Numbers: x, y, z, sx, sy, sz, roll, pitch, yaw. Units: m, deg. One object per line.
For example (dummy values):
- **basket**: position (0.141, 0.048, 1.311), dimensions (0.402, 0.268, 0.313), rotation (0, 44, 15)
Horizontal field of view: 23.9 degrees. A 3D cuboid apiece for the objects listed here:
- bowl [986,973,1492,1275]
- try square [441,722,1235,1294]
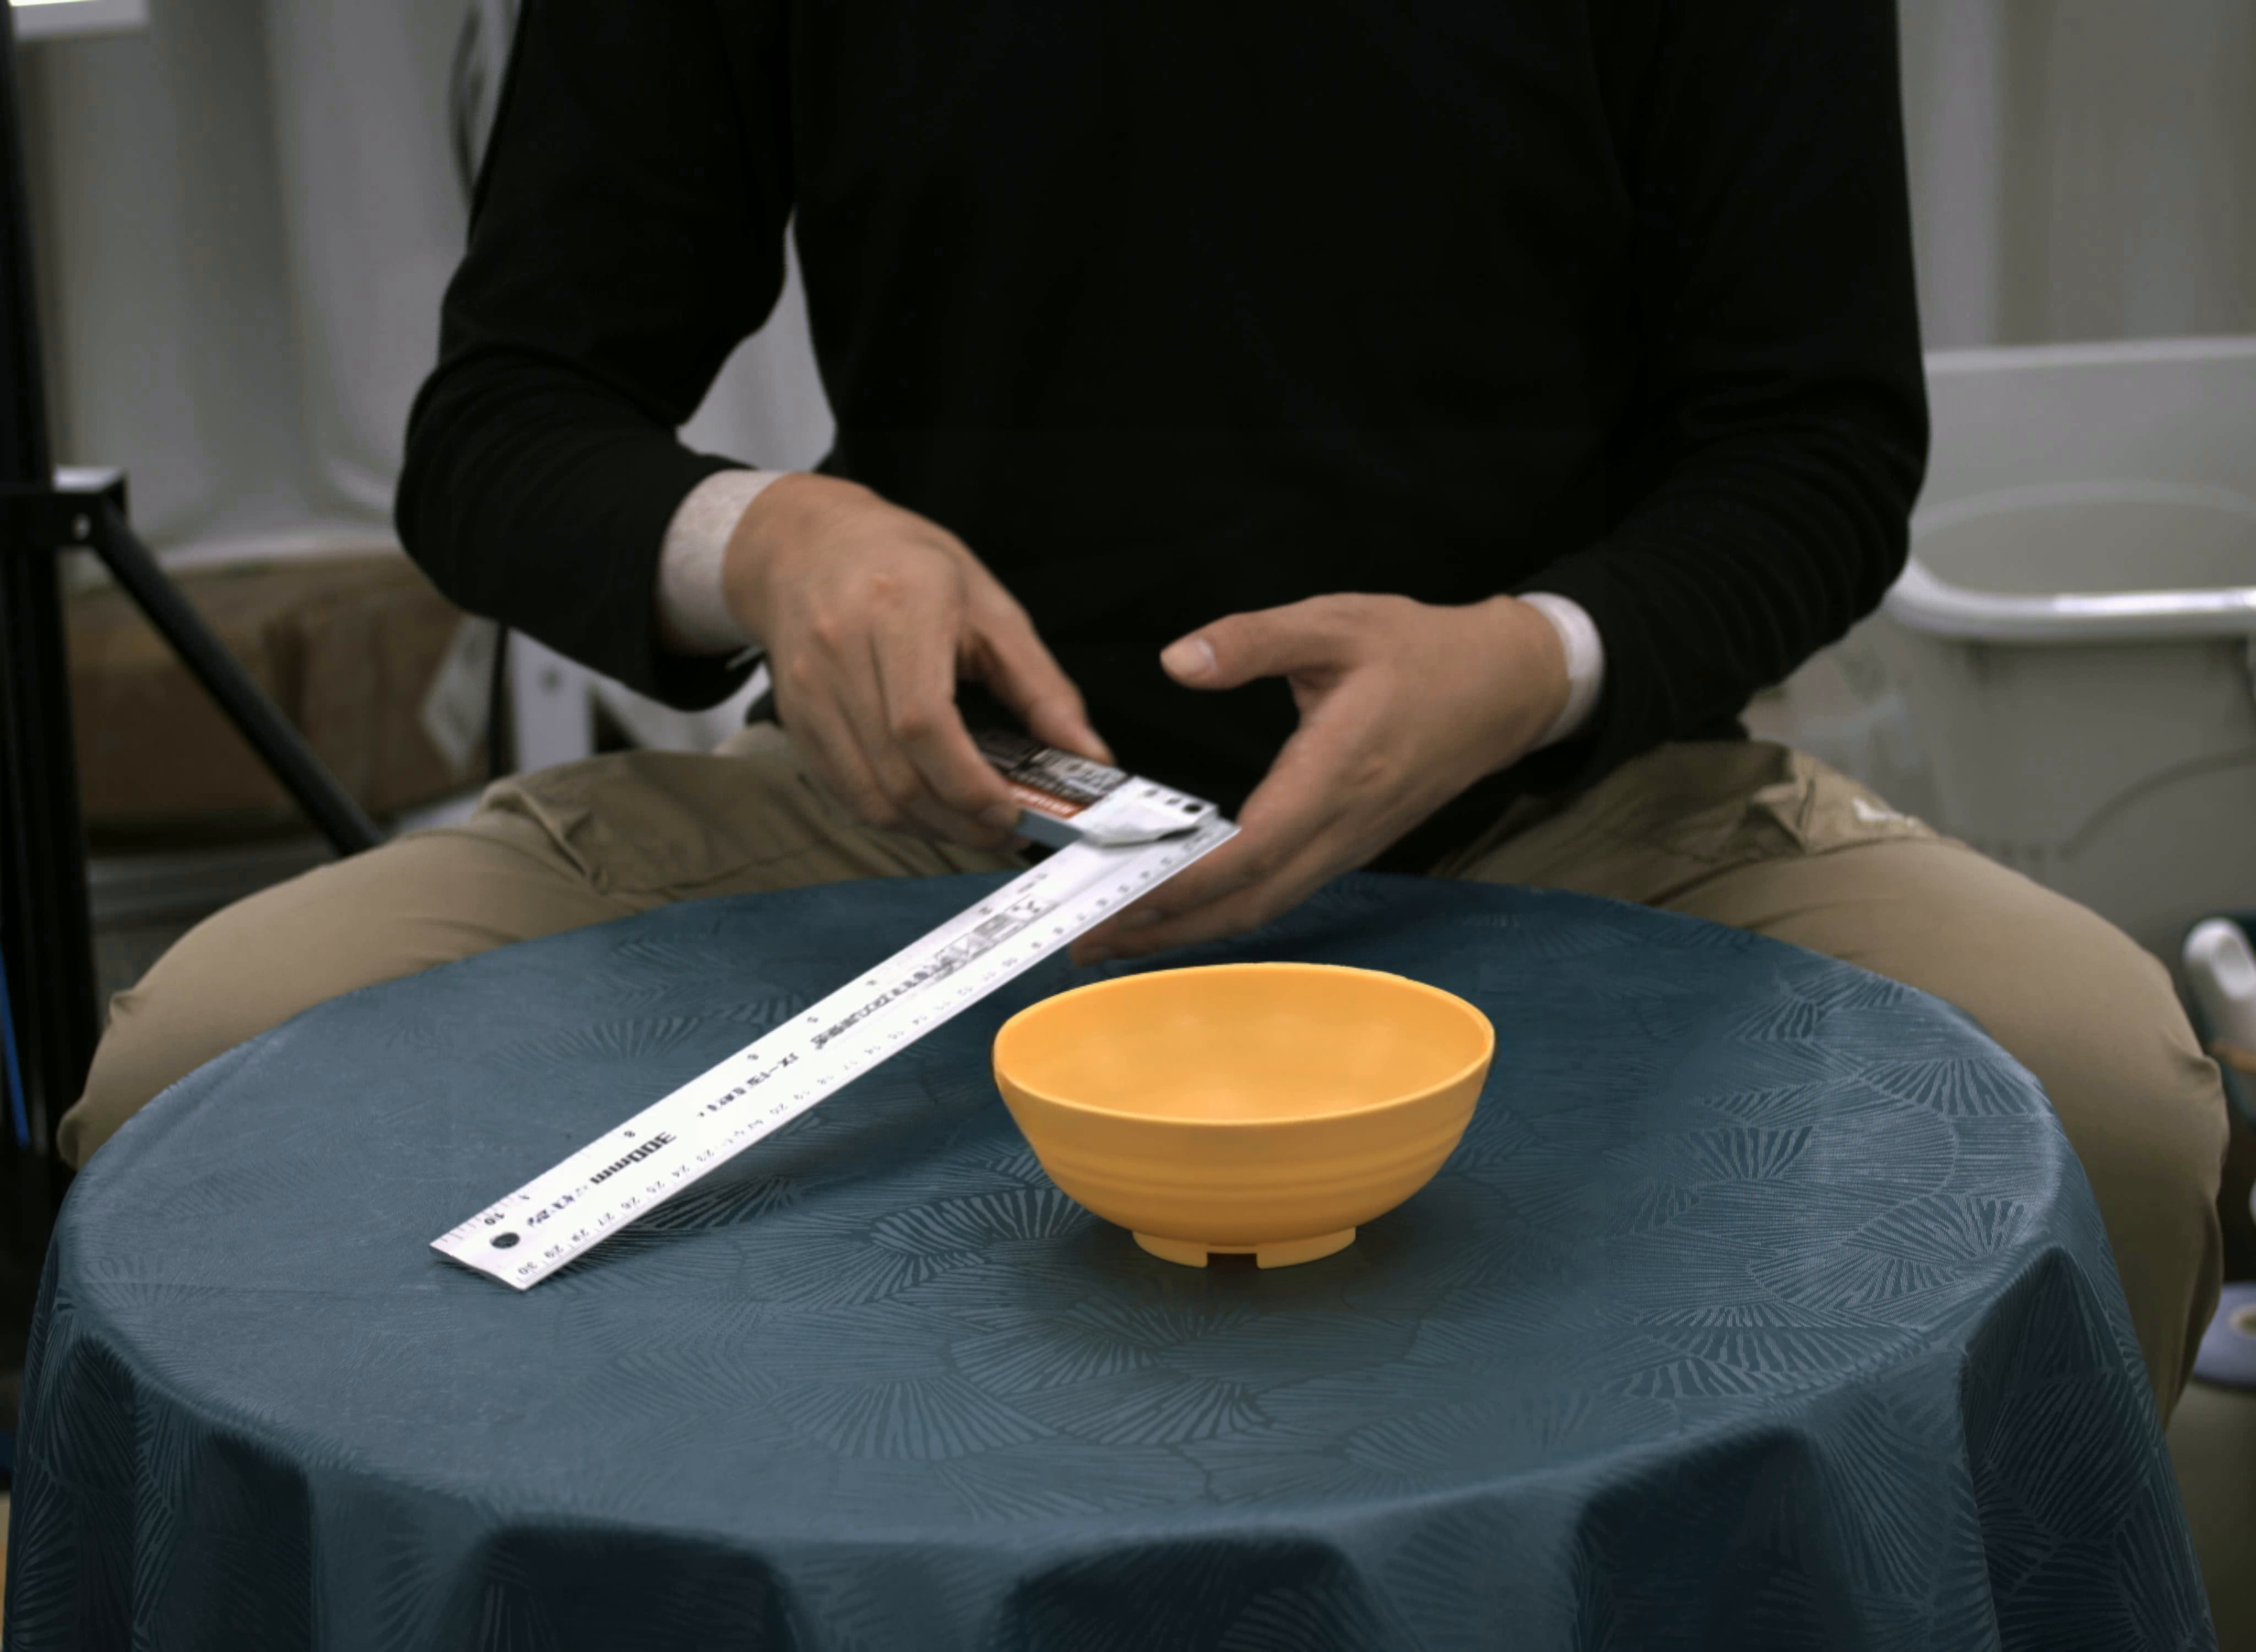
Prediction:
- **bowl**: position (0.031, 0.090, 1.514), dimensions (0.144, 0.060, 0.146), rotation (0, 14, -1)
- **try square**: position (-0.121, 0.050, 1.641), dimensions (0.156, 0.016, 0.307), rotation (16, 36, 40)
